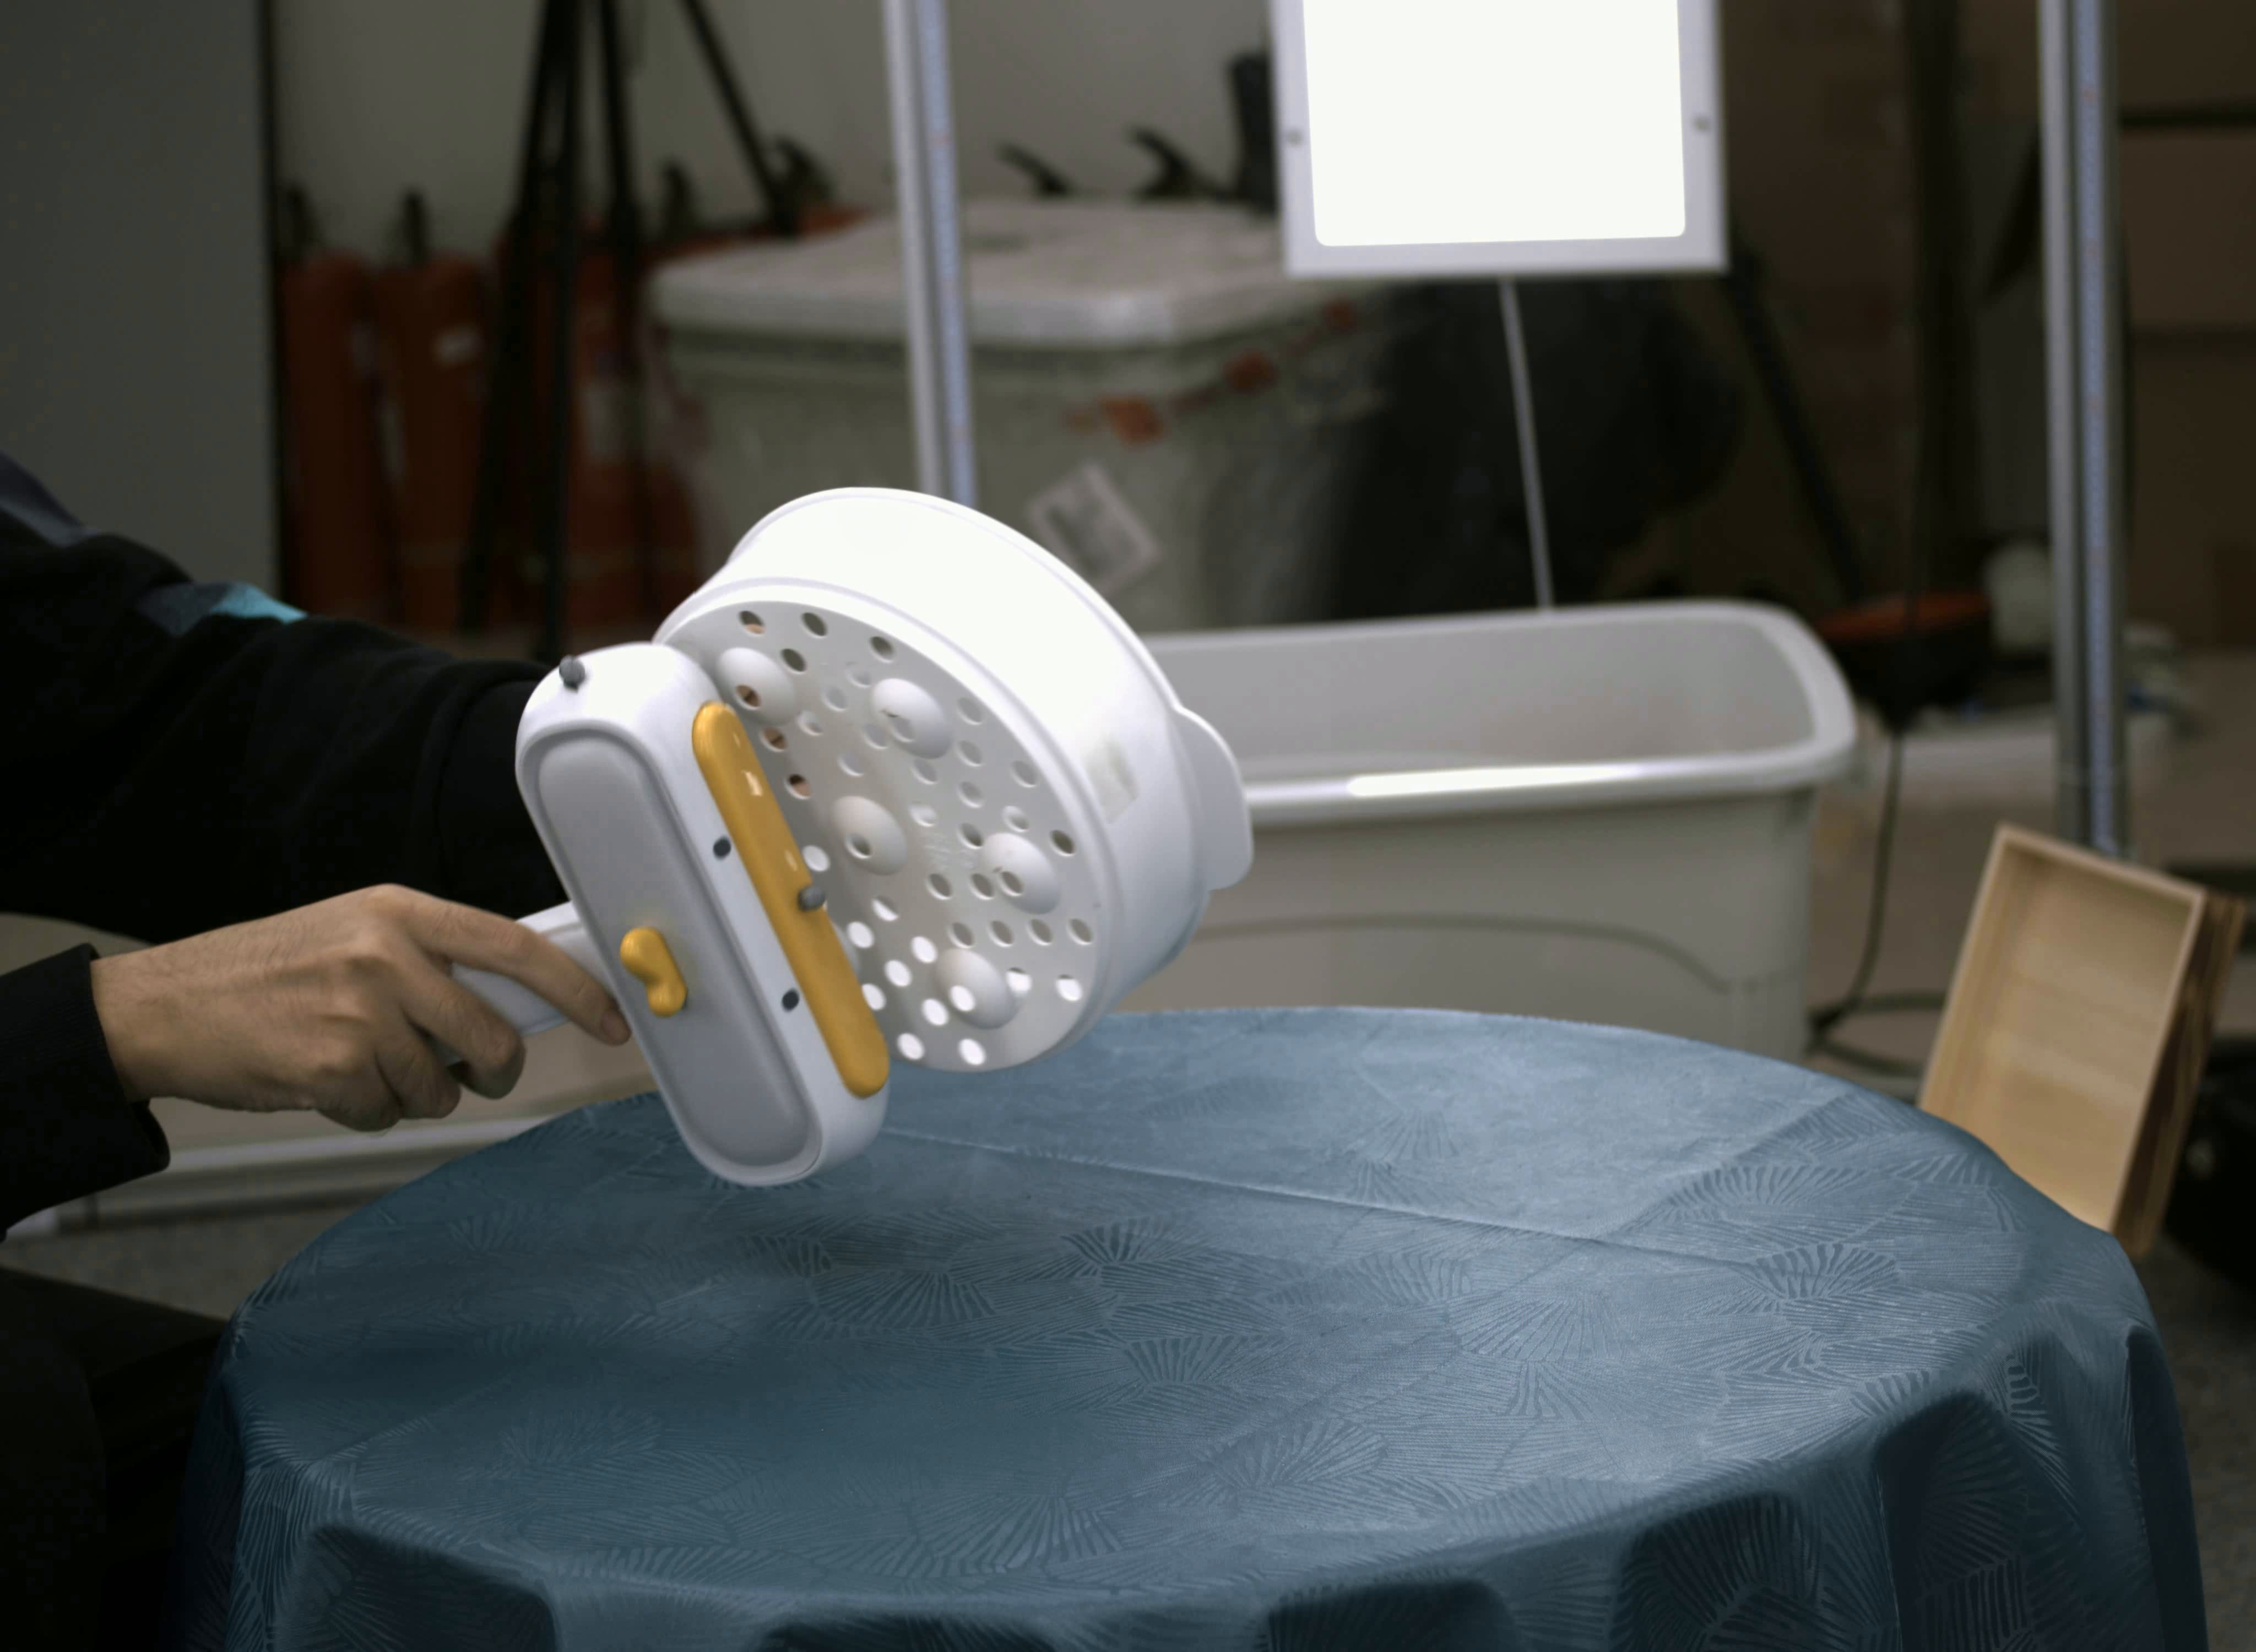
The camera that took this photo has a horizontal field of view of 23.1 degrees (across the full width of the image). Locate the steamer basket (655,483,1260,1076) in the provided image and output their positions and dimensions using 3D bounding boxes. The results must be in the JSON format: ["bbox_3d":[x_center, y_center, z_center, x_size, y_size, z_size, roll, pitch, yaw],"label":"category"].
[{"bbox_3d":[-0.069,-0.011,1.809,0.235,0.202,0.068,12,40,33],"label":"steamer basket"}]

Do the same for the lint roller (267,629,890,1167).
[{"bbox_3d":[-0.193,0.044,1.806,0.196,0.192,0.073,-17,27,26],"label":"lint roller"}]
